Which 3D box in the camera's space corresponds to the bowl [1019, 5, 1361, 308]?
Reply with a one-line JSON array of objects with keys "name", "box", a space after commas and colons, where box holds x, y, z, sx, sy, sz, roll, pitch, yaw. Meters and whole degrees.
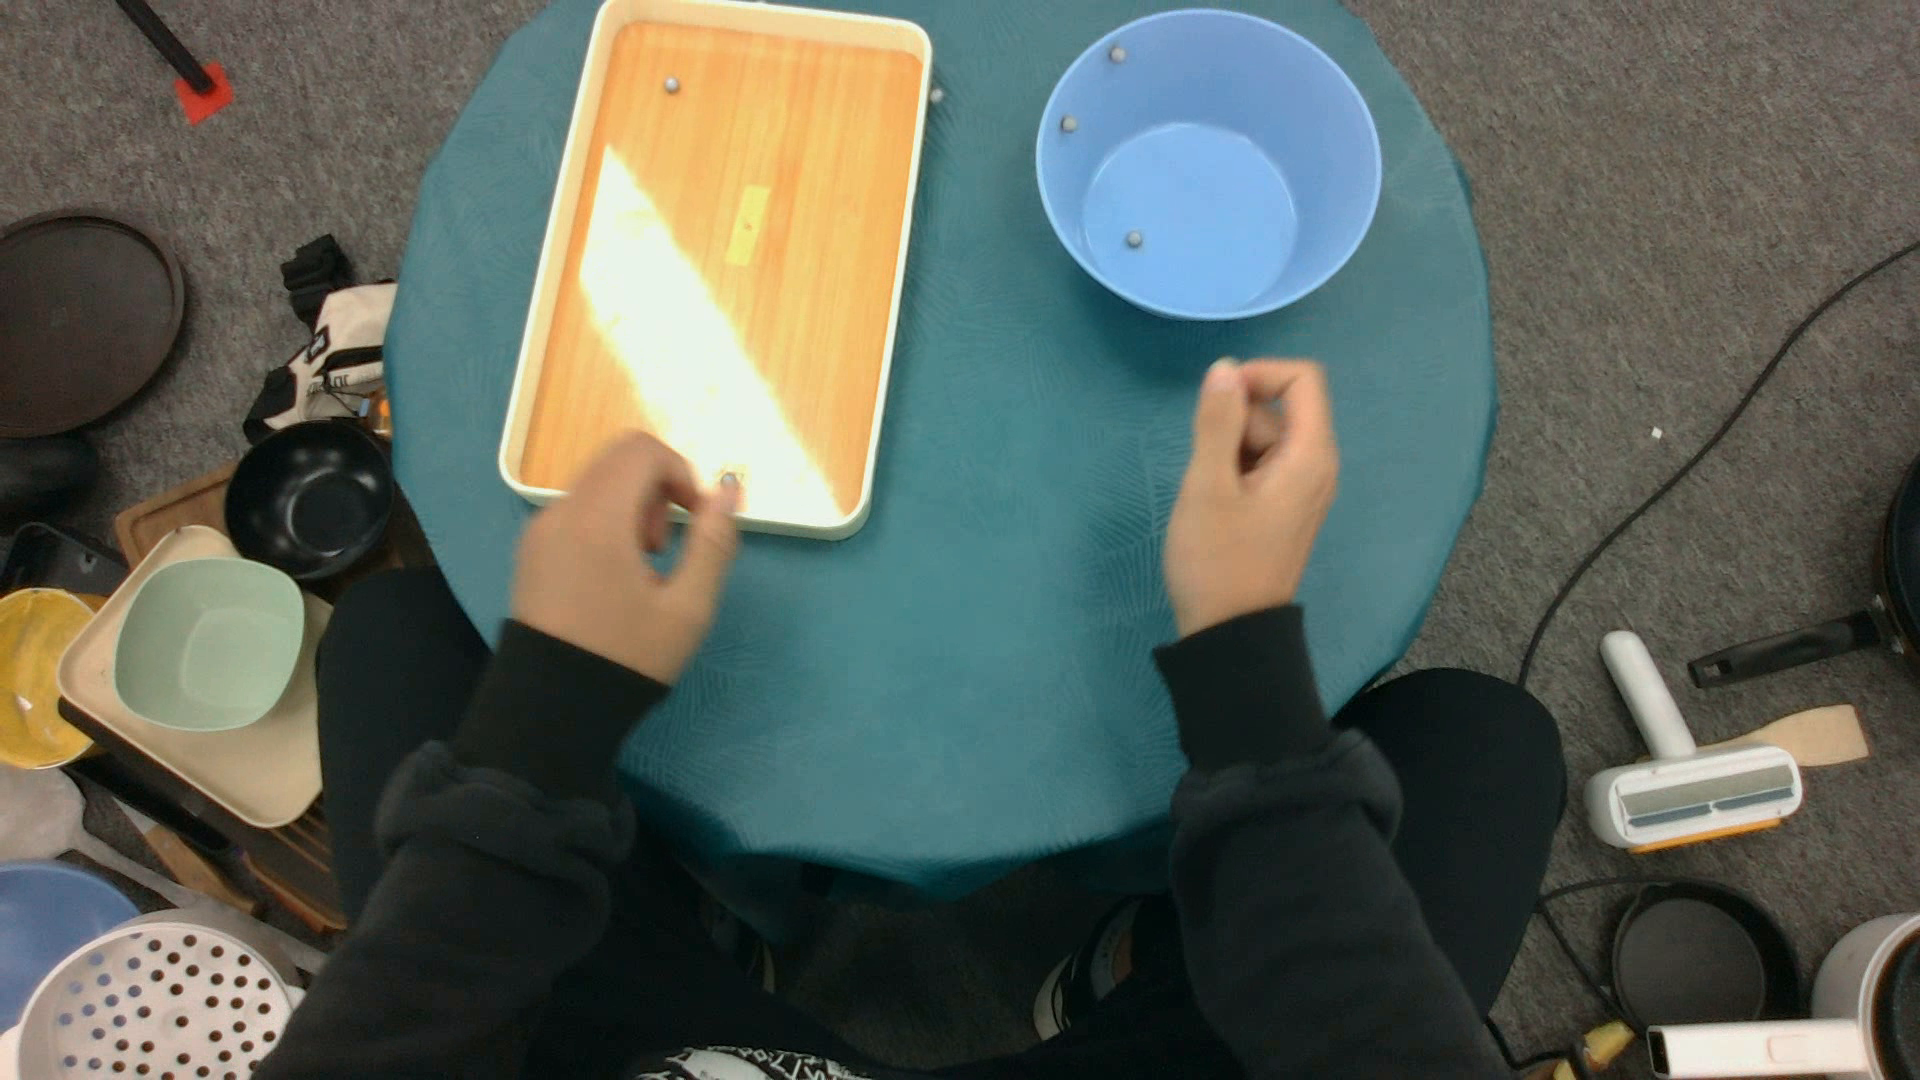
[{"name": "bowl", "box": [0.118, -0.191, 0.735, 0.176, 0.070, 0.176, 0, 73, -1]}]

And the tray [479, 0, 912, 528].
[{"name": "tray", "box": [-0.136, -0.159, 0.745, 0.191, 0.027, 0.301, 7, 74, 1]}]
